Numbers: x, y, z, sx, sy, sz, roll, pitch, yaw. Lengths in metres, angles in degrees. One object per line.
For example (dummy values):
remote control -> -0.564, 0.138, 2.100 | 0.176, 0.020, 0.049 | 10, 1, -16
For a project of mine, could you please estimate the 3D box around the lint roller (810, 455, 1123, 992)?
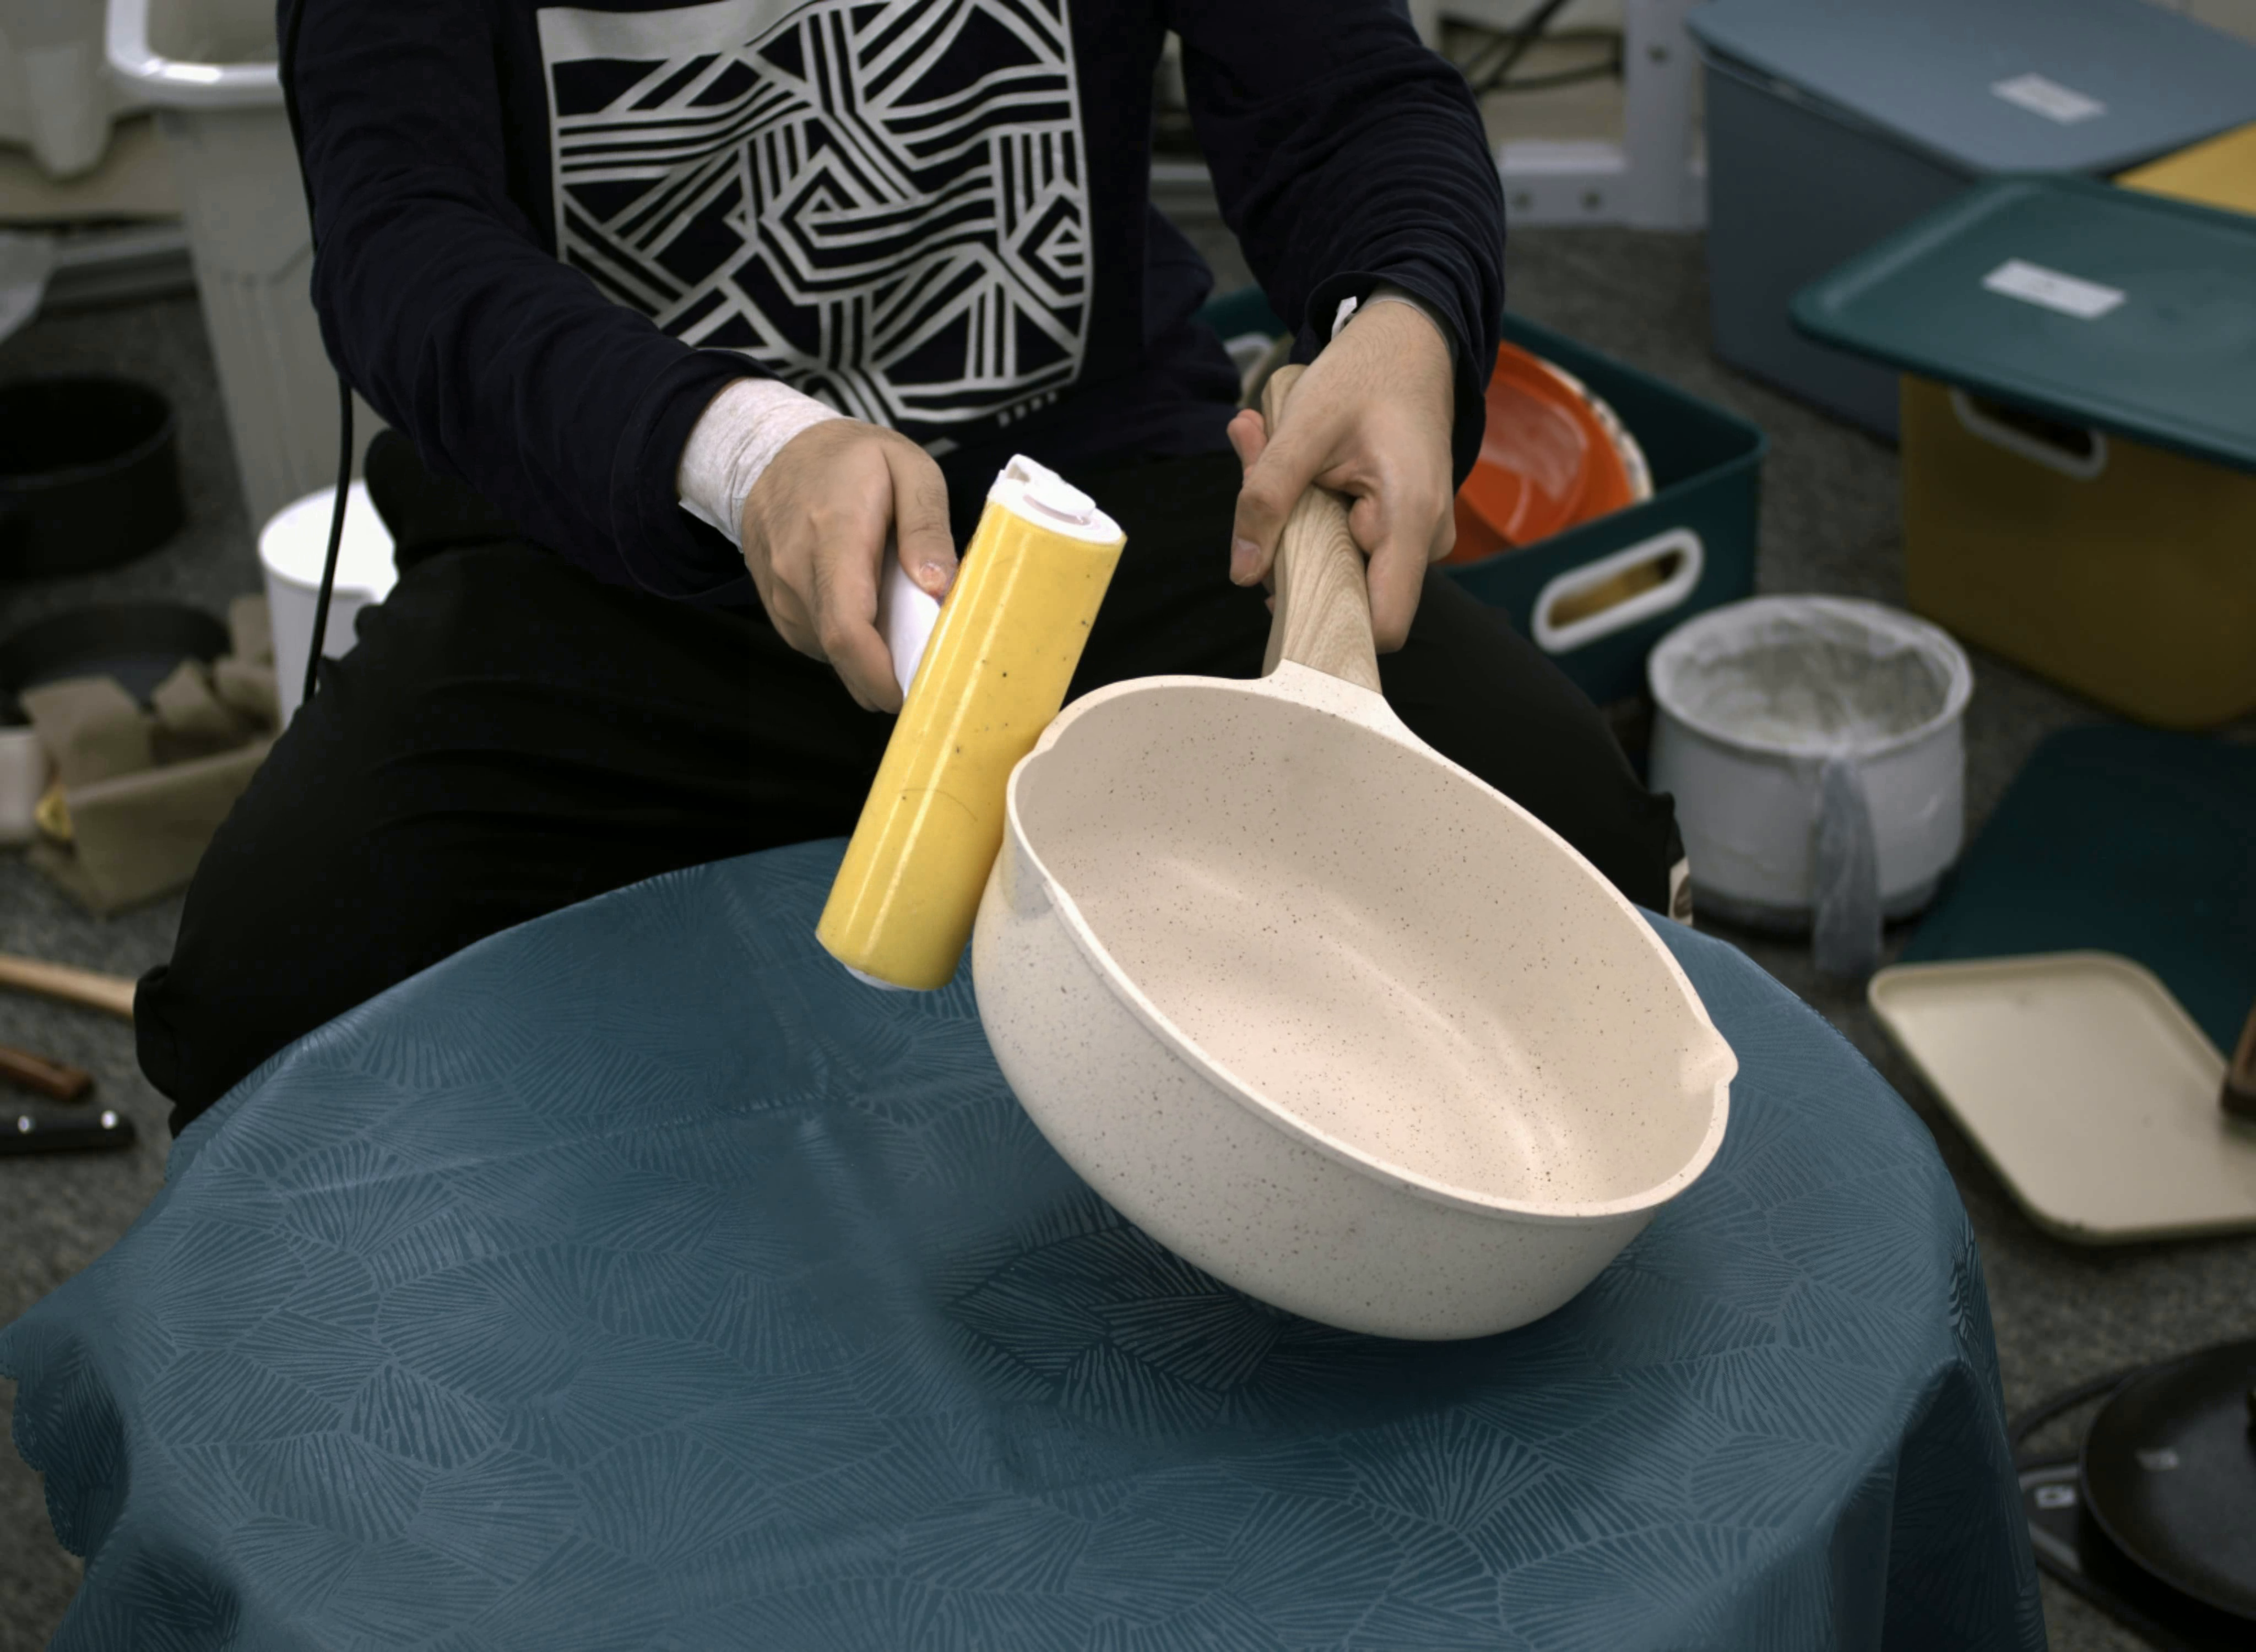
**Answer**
lint roller -> -0.075, -0.057, 1.855 | 0.051, 0.173, 0.193 | 15, 16, -27

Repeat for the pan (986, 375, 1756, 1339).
pan -> 0.062, 0.005, 1.865 | 0.262, 0.100, 0.442 | 18, 31, -18
